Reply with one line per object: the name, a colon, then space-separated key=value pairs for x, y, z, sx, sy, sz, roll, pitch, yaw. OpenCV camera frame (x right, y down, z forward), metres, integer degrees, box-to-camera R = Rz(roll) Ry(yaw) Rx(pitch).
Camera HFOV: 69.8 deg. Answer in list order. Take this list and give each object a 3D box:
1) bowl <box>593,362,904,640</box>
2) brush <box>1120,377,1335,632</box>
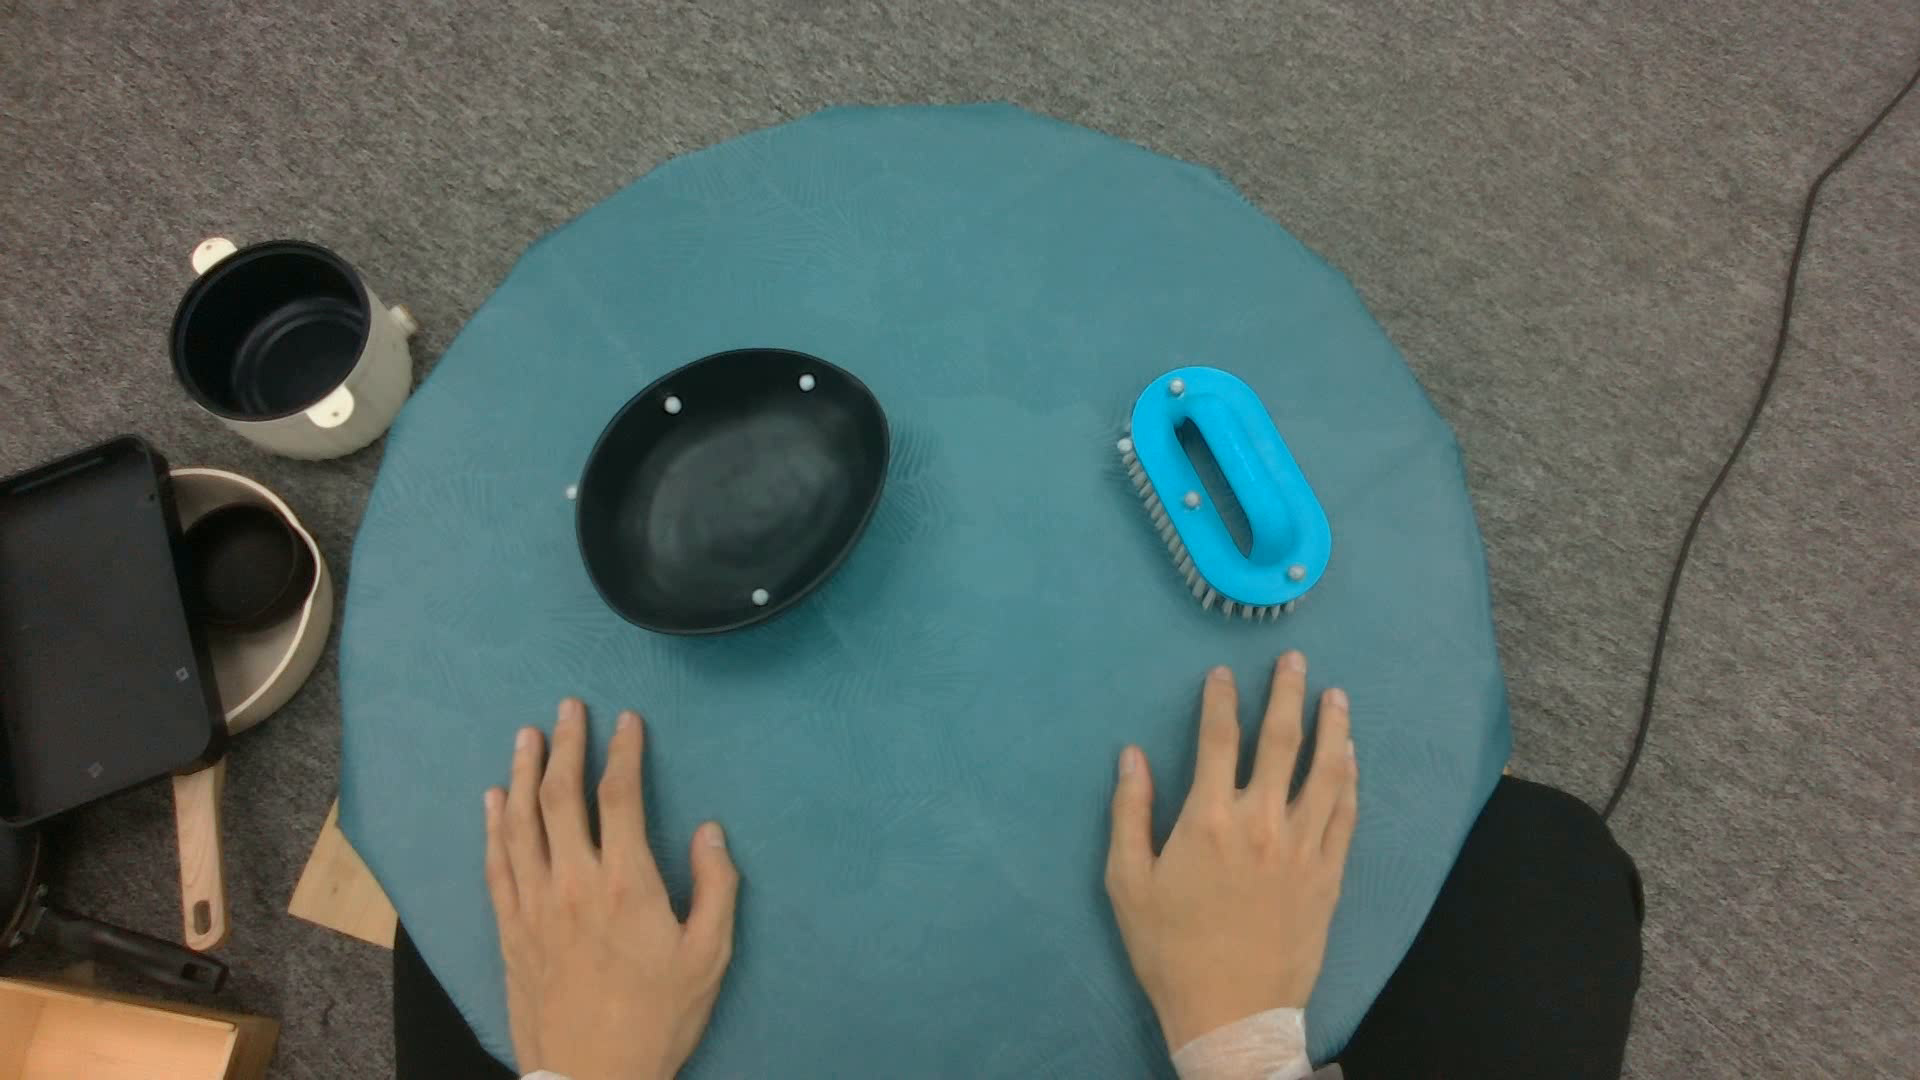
bowl: x=-0.106 y=-0.017 z=0.720 sx=0.137 sy=0.066 sz=0.171 roll=43 pitch=76 yaw=13
brush: x=0.142 y=-0.026 z=0.716 sx=0.084 sy=0.063 sz=0.142 roll=-20 pitch=73 yaw=-10
